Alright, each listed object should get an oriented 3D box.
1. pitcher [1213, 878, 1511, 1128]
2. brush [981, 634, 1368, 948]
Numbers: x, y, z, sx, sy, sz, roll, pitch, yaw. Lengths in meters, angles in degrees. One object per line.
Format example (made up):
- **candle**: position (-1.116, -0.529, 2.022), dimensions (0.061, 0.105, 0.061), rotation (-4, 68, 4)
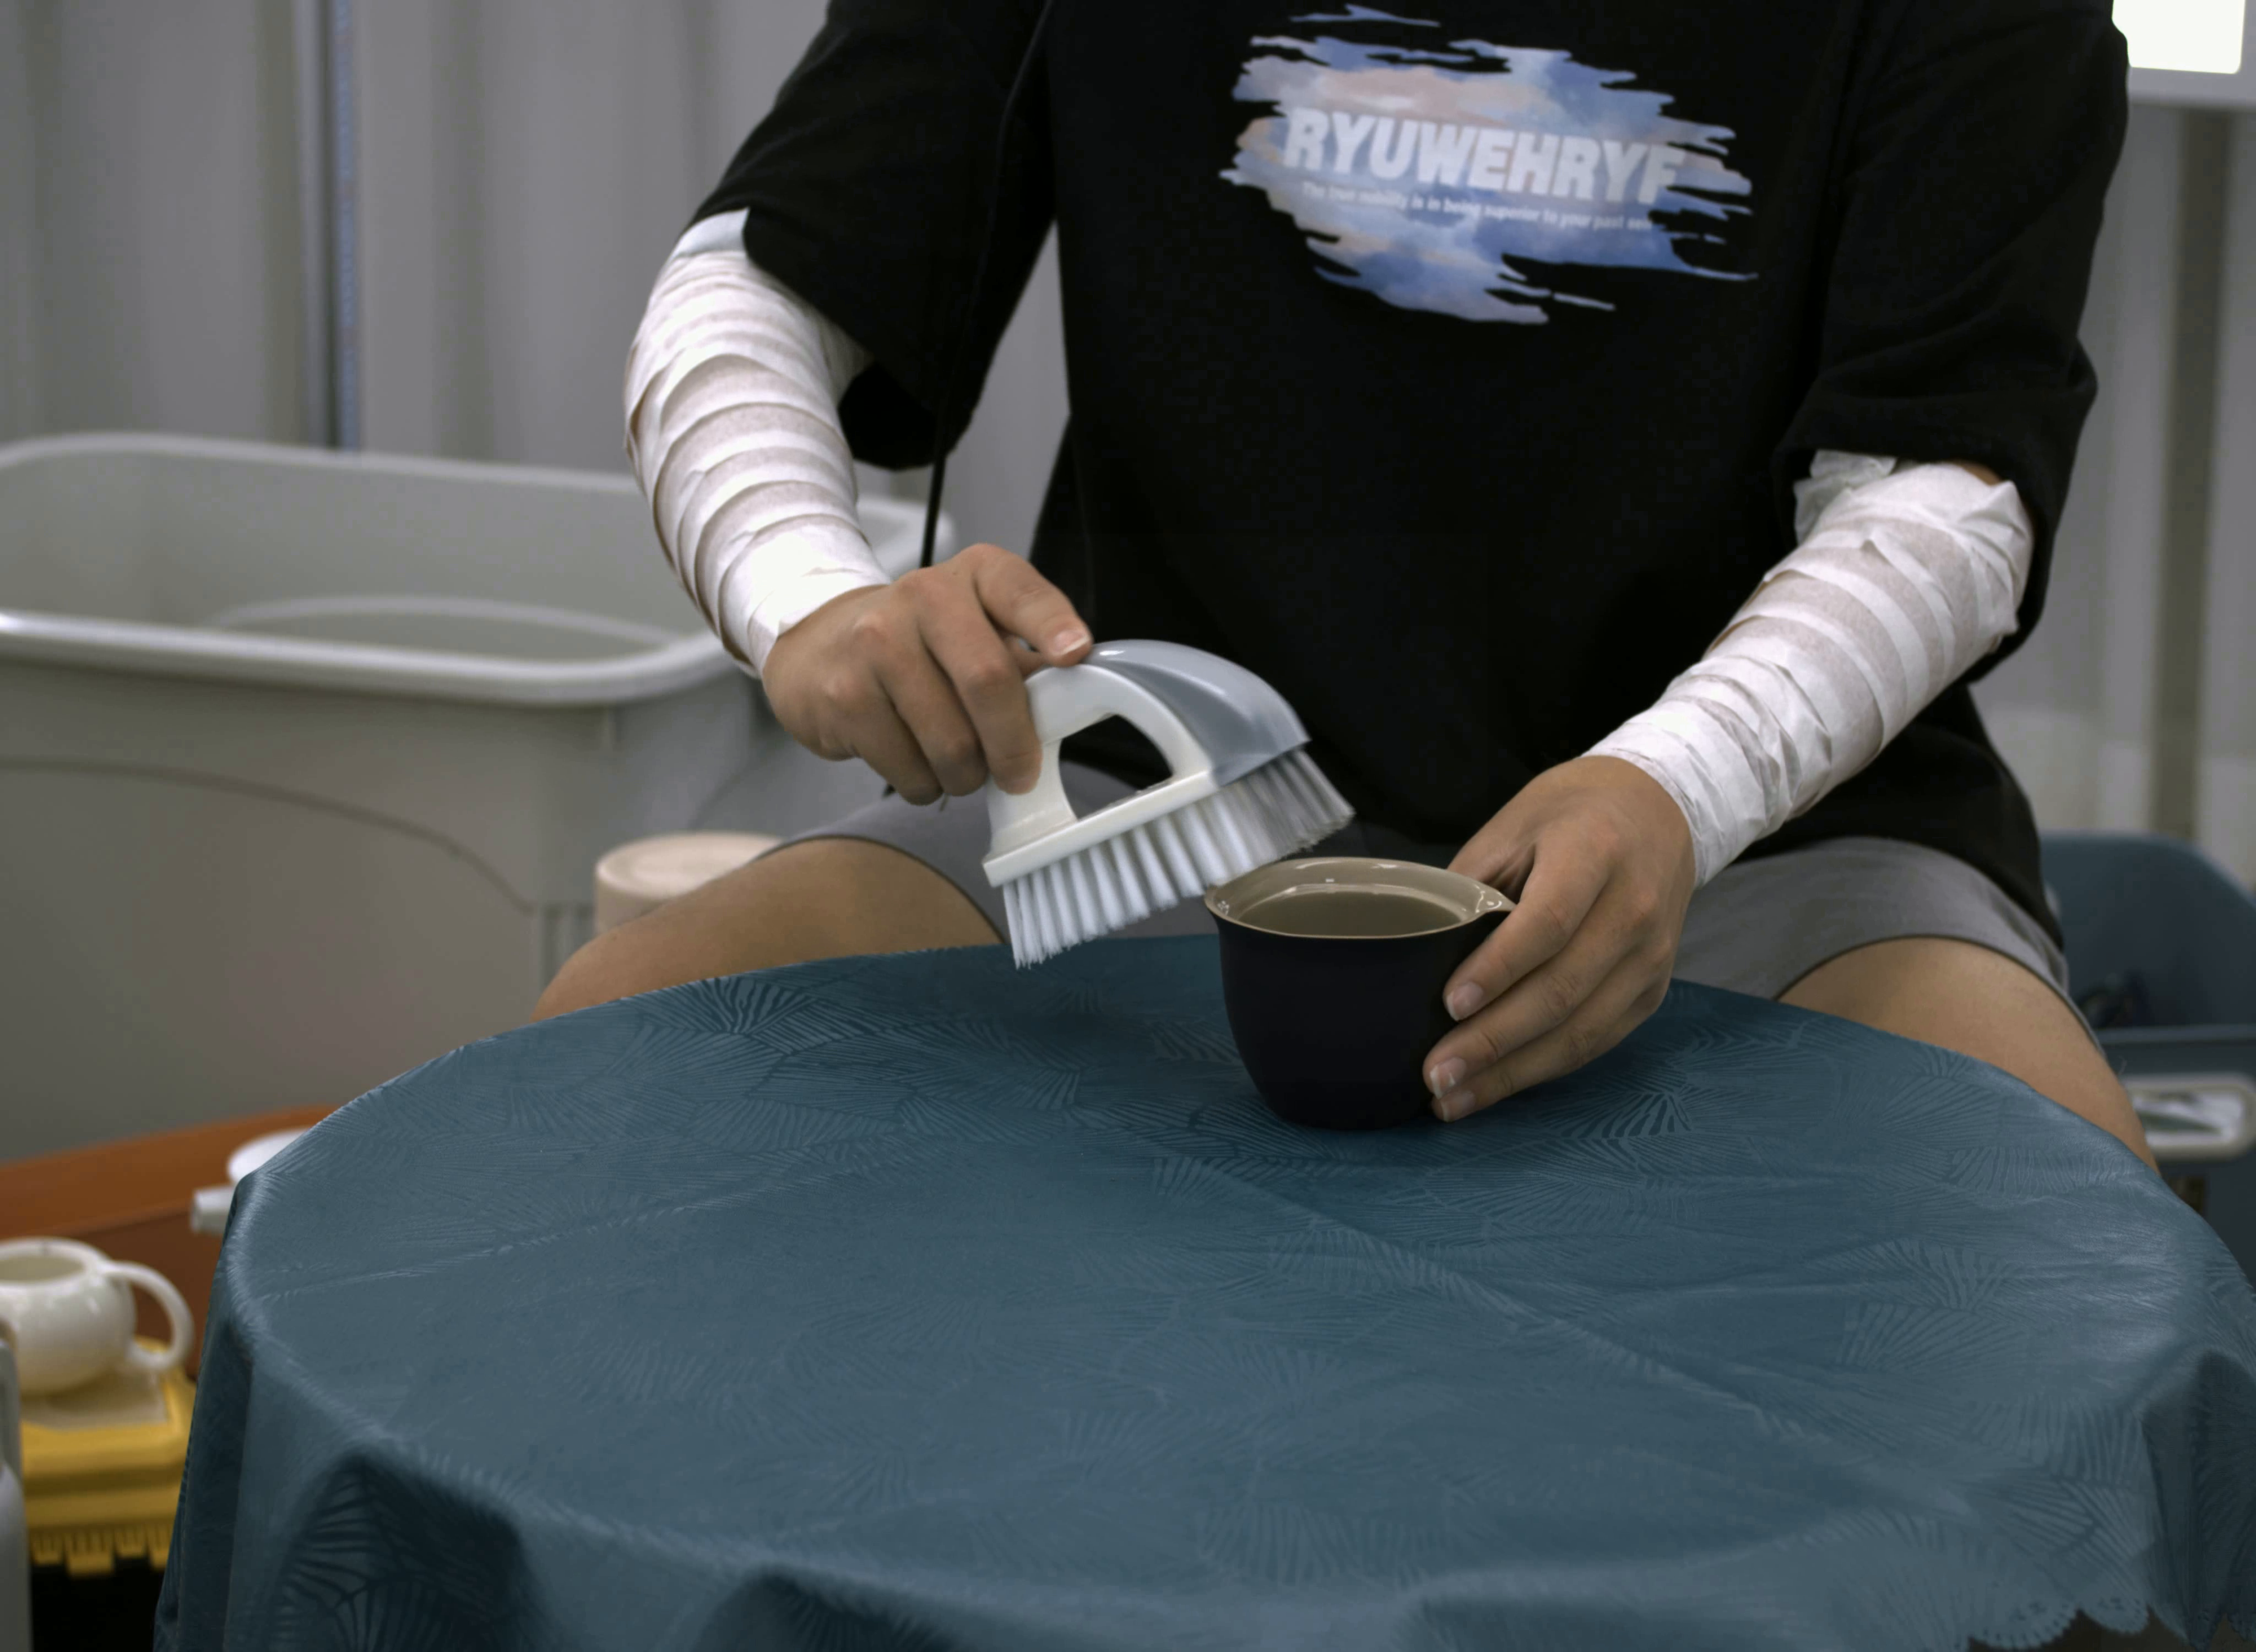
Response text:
- **pitcher**: position (0.073, 0.056, 1.694), dimensions (0.096, 0.072, 0.083), rotation (3, 14, -1)
- **brush**: position (0.010, -0.021, 1.722), dimensions (0.061, 0.094, 0.174), rotation (-31, 7, -34)
